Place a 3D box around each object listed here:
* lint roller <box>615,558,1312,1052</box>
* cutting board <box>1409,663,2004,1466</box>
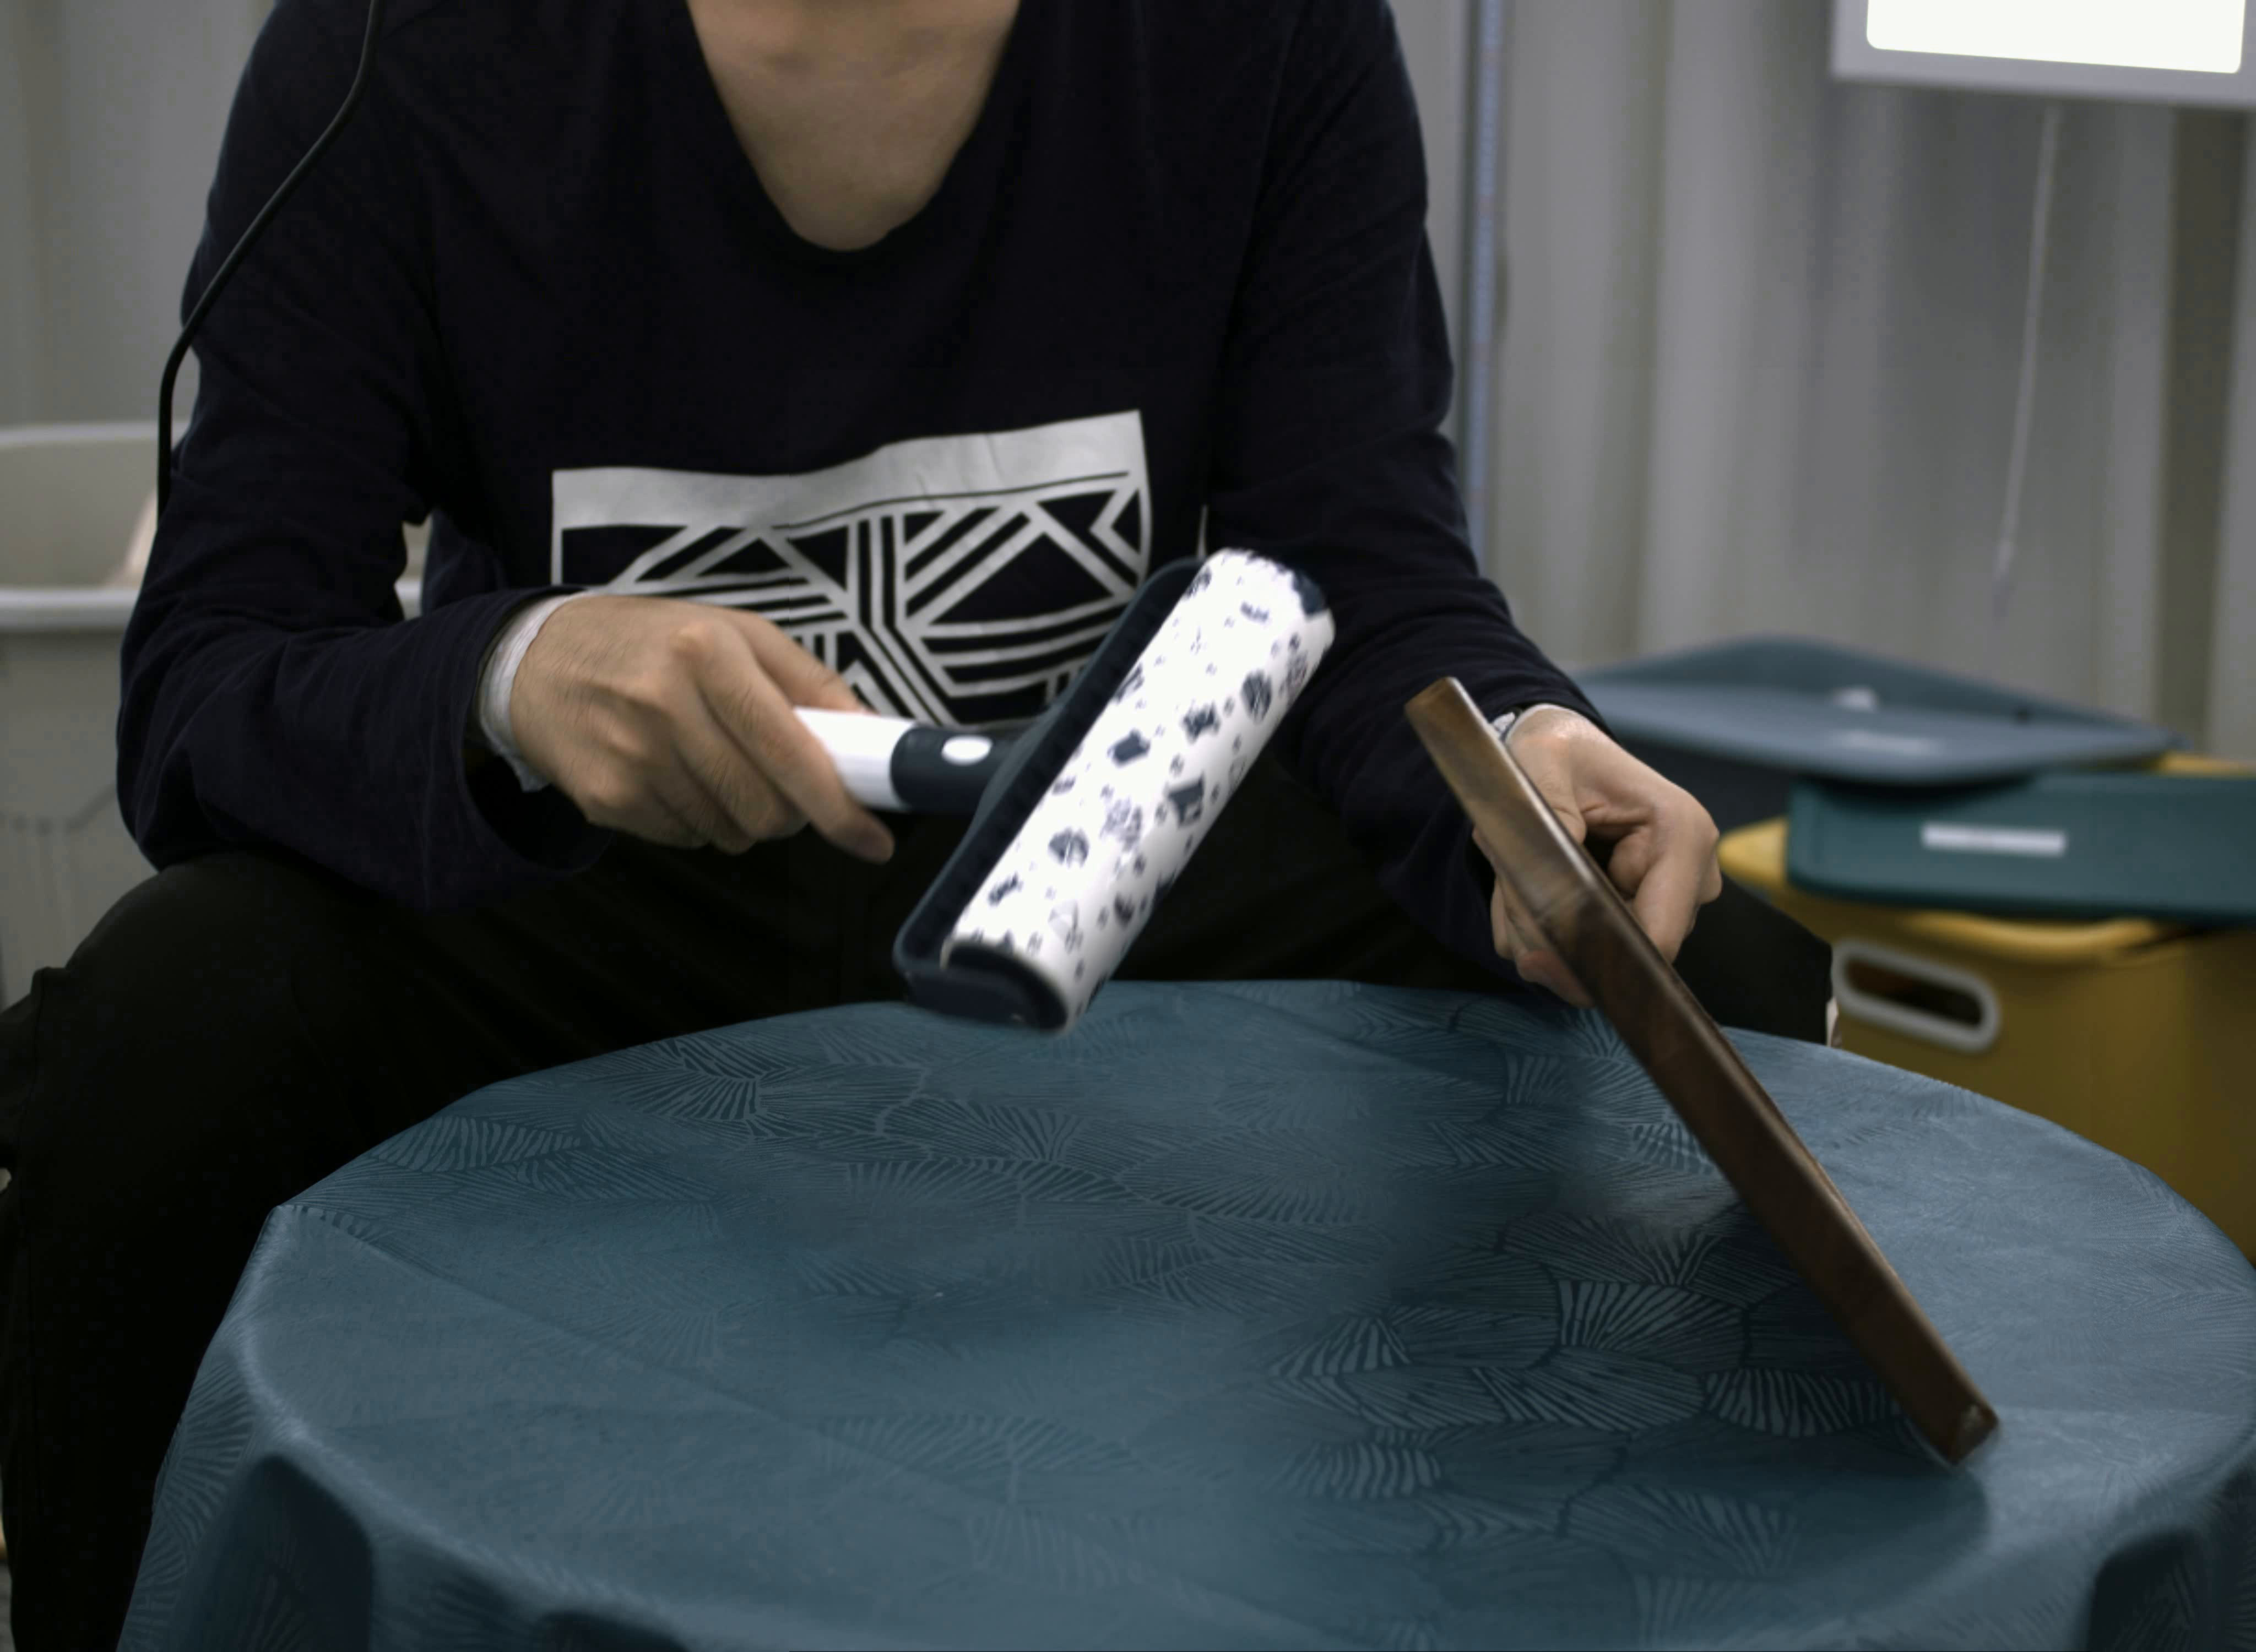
[{"bbox_3d":[-0.077,-0.015,1.646,0.244,0.051,0.176,7,54,39],"label":"lint roller"},{"bbox_3d":[0.155,0.049,1.543,0.023,0.203,0.349,-36,16,4],"label":"cutting board"}]
